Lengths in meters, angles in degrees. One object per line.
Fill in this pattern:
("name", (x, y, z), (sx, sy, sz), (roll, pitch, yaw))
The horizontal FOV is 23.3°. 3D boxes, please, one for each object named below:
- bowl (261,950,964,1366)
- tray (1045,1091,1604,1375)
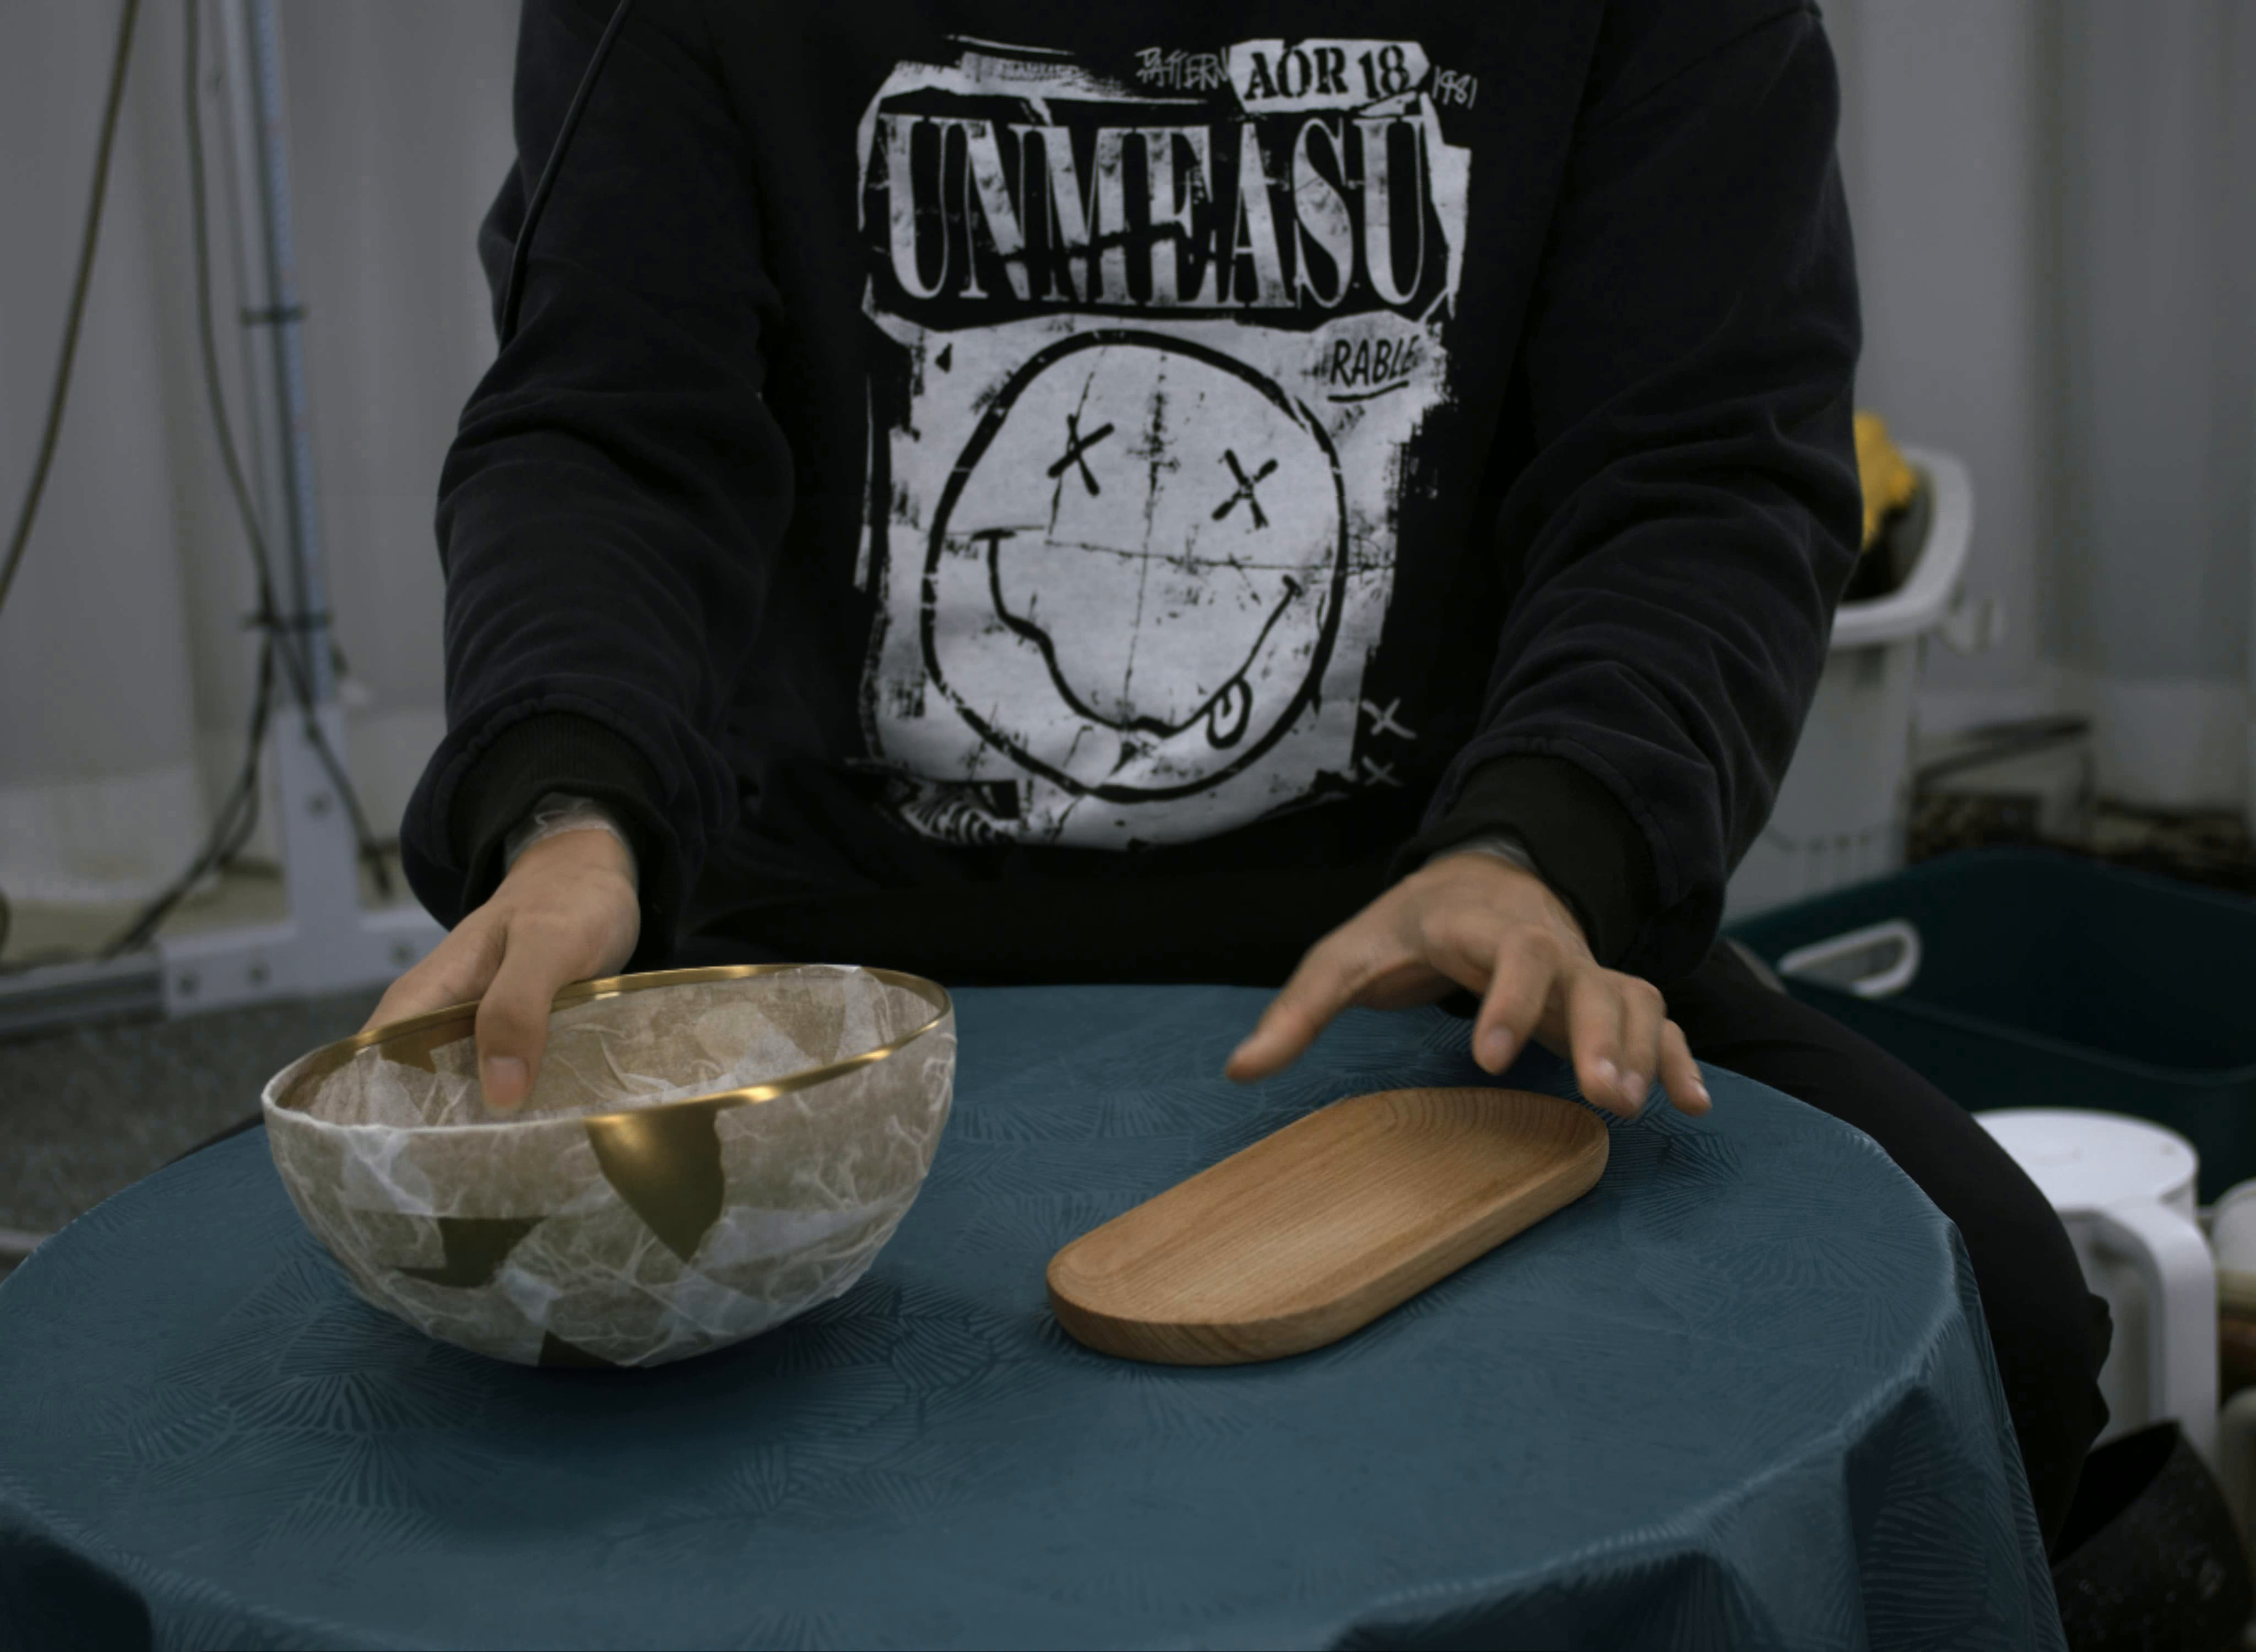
("bowl", (-0.141, 0.103, 1.591), (0.214, 0.094, 0.215), (-8, 9, 1))
("tray", (0.062, 0.121, 1.650), (0.102, 0.020, 0.231), (4, 18, 33))
